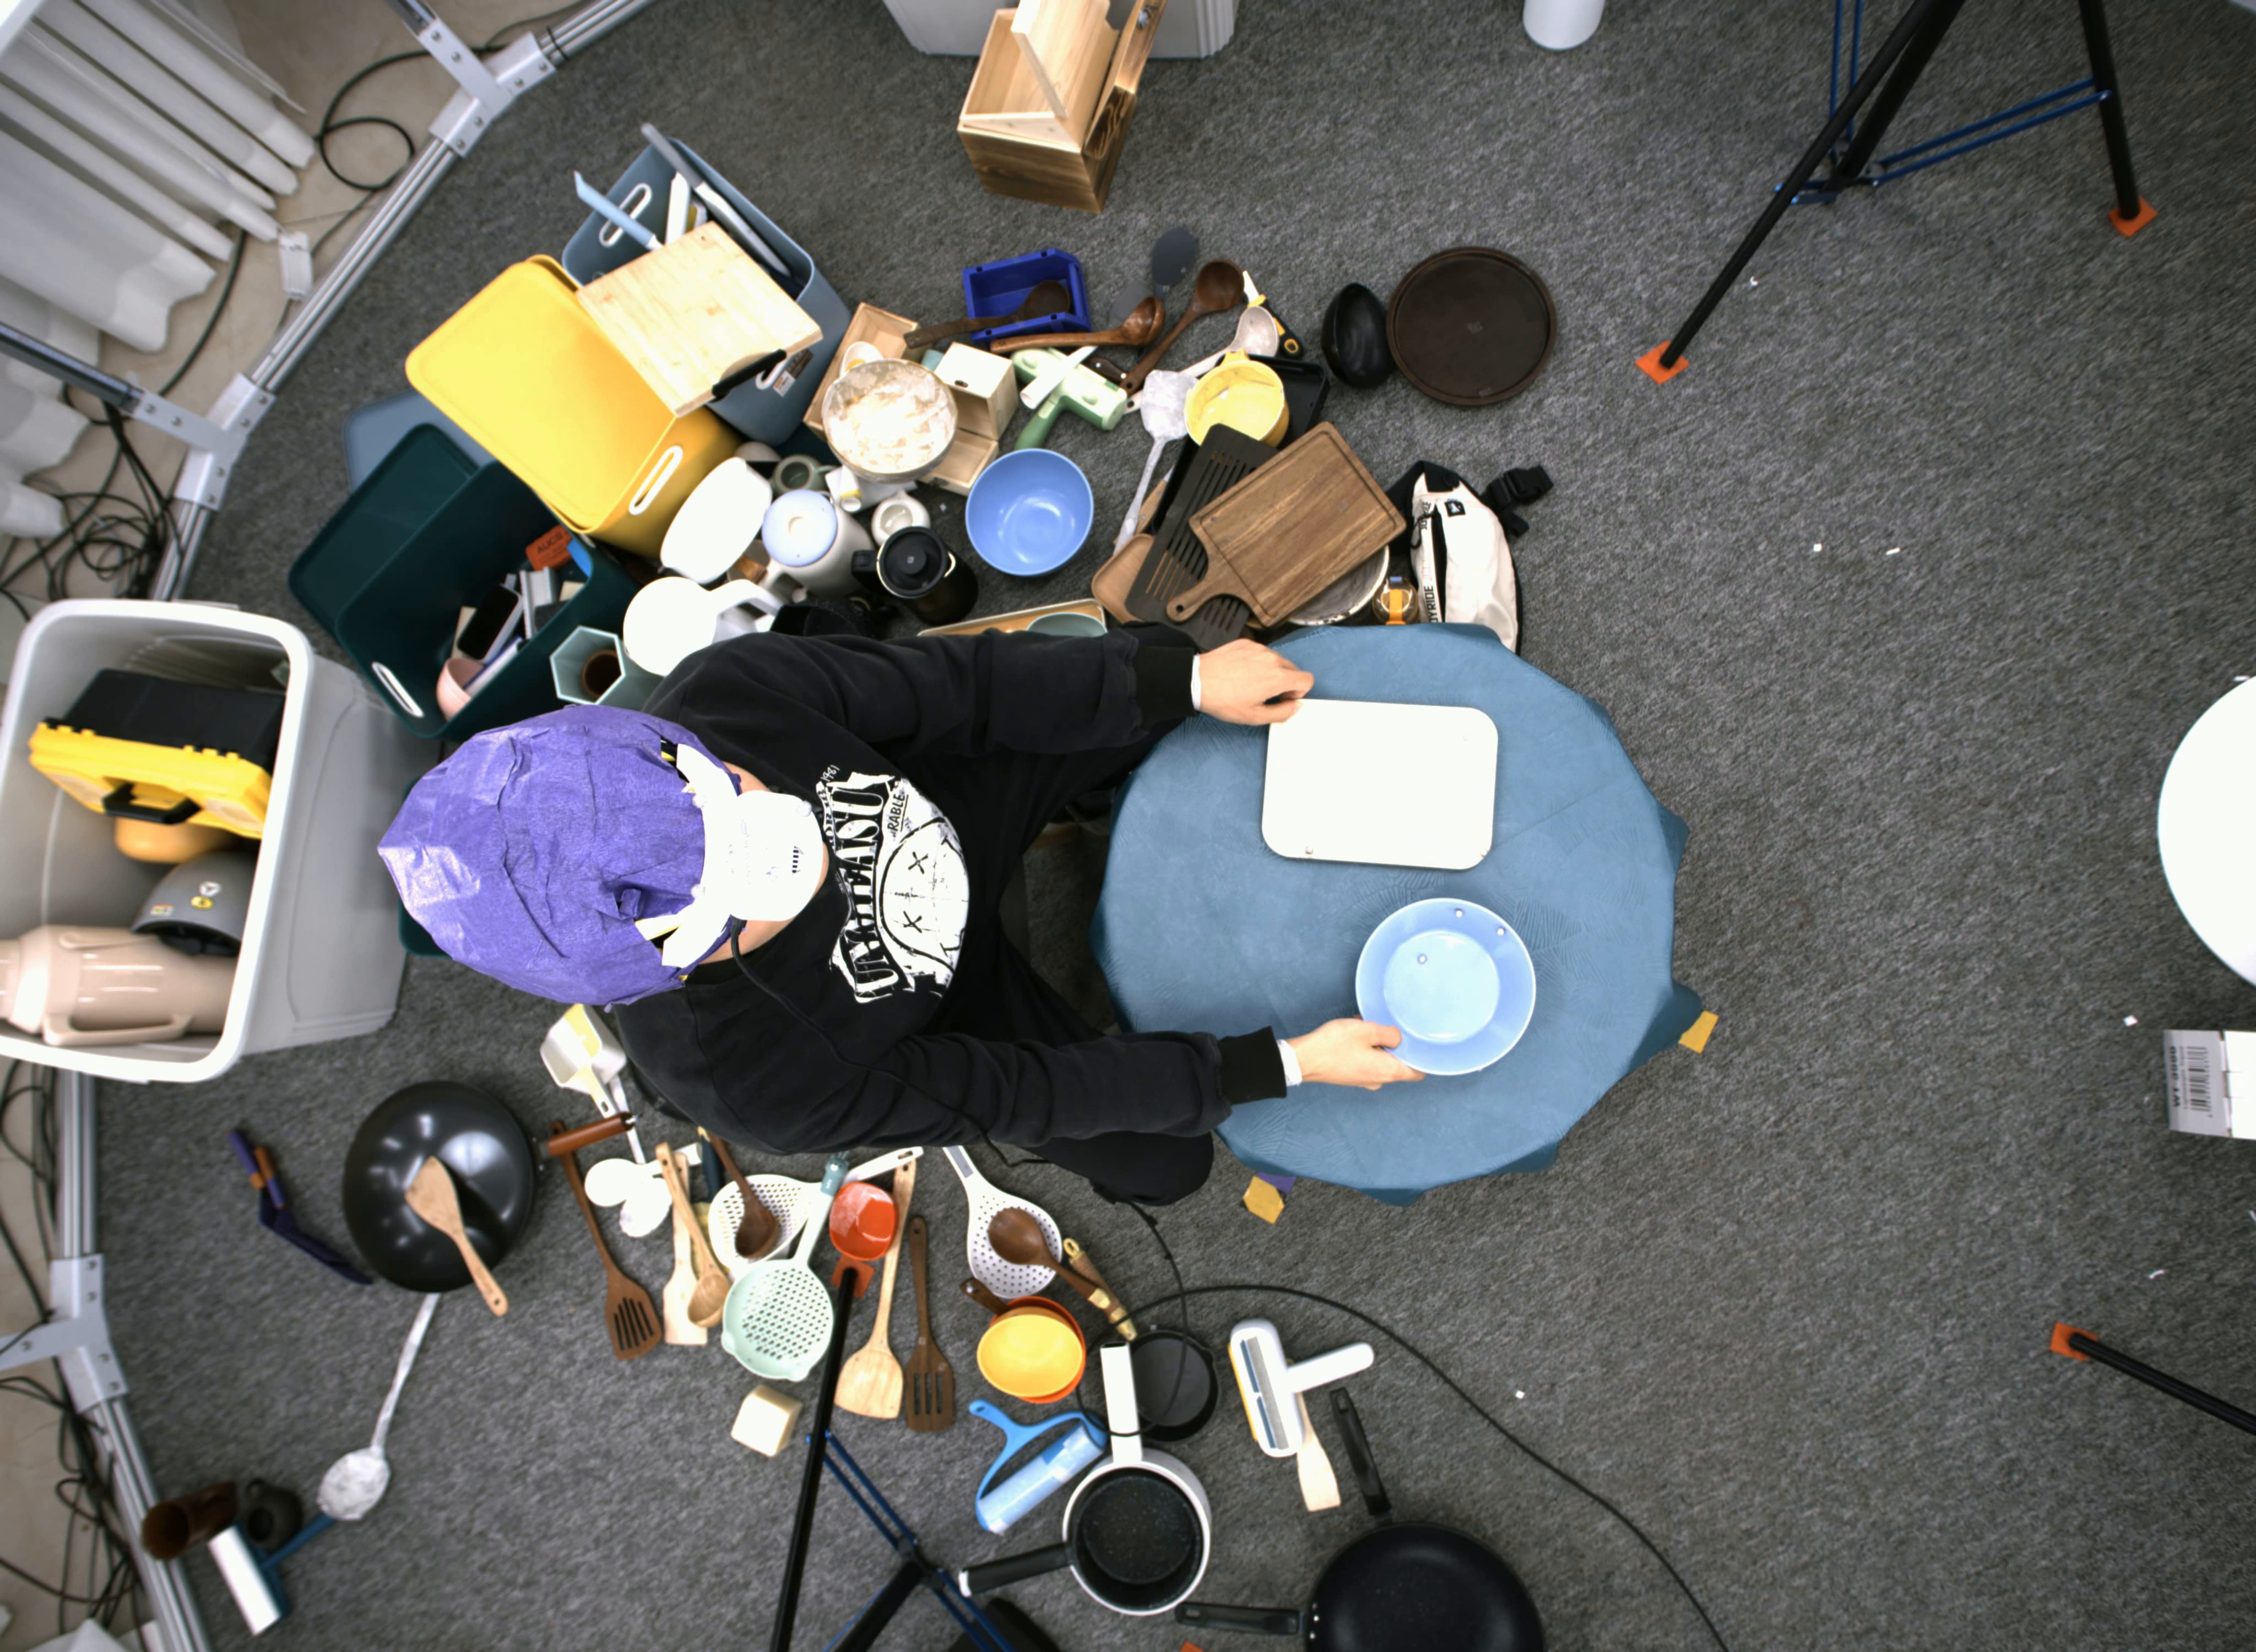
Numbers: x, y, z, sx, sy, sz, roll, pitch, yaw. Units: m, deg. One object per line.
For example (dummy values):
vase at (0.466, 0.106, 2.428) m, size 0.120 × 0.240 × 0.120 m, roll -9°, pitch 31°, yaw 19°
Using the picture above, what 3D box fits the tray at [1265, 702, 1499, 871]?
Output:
tray at (0.268, -0.043, 1.461) m, size 0.240 × 0.017 × 0.171 m, roll 4°, pitch 88°, yaw 10°

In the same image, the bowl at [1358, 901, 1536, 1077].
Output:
bowl at (0.323, 0.165, 1.412) m, size 0.177 × 0.070 × 0.175 m, roll -1°, pitch 84°, yaw 9°
